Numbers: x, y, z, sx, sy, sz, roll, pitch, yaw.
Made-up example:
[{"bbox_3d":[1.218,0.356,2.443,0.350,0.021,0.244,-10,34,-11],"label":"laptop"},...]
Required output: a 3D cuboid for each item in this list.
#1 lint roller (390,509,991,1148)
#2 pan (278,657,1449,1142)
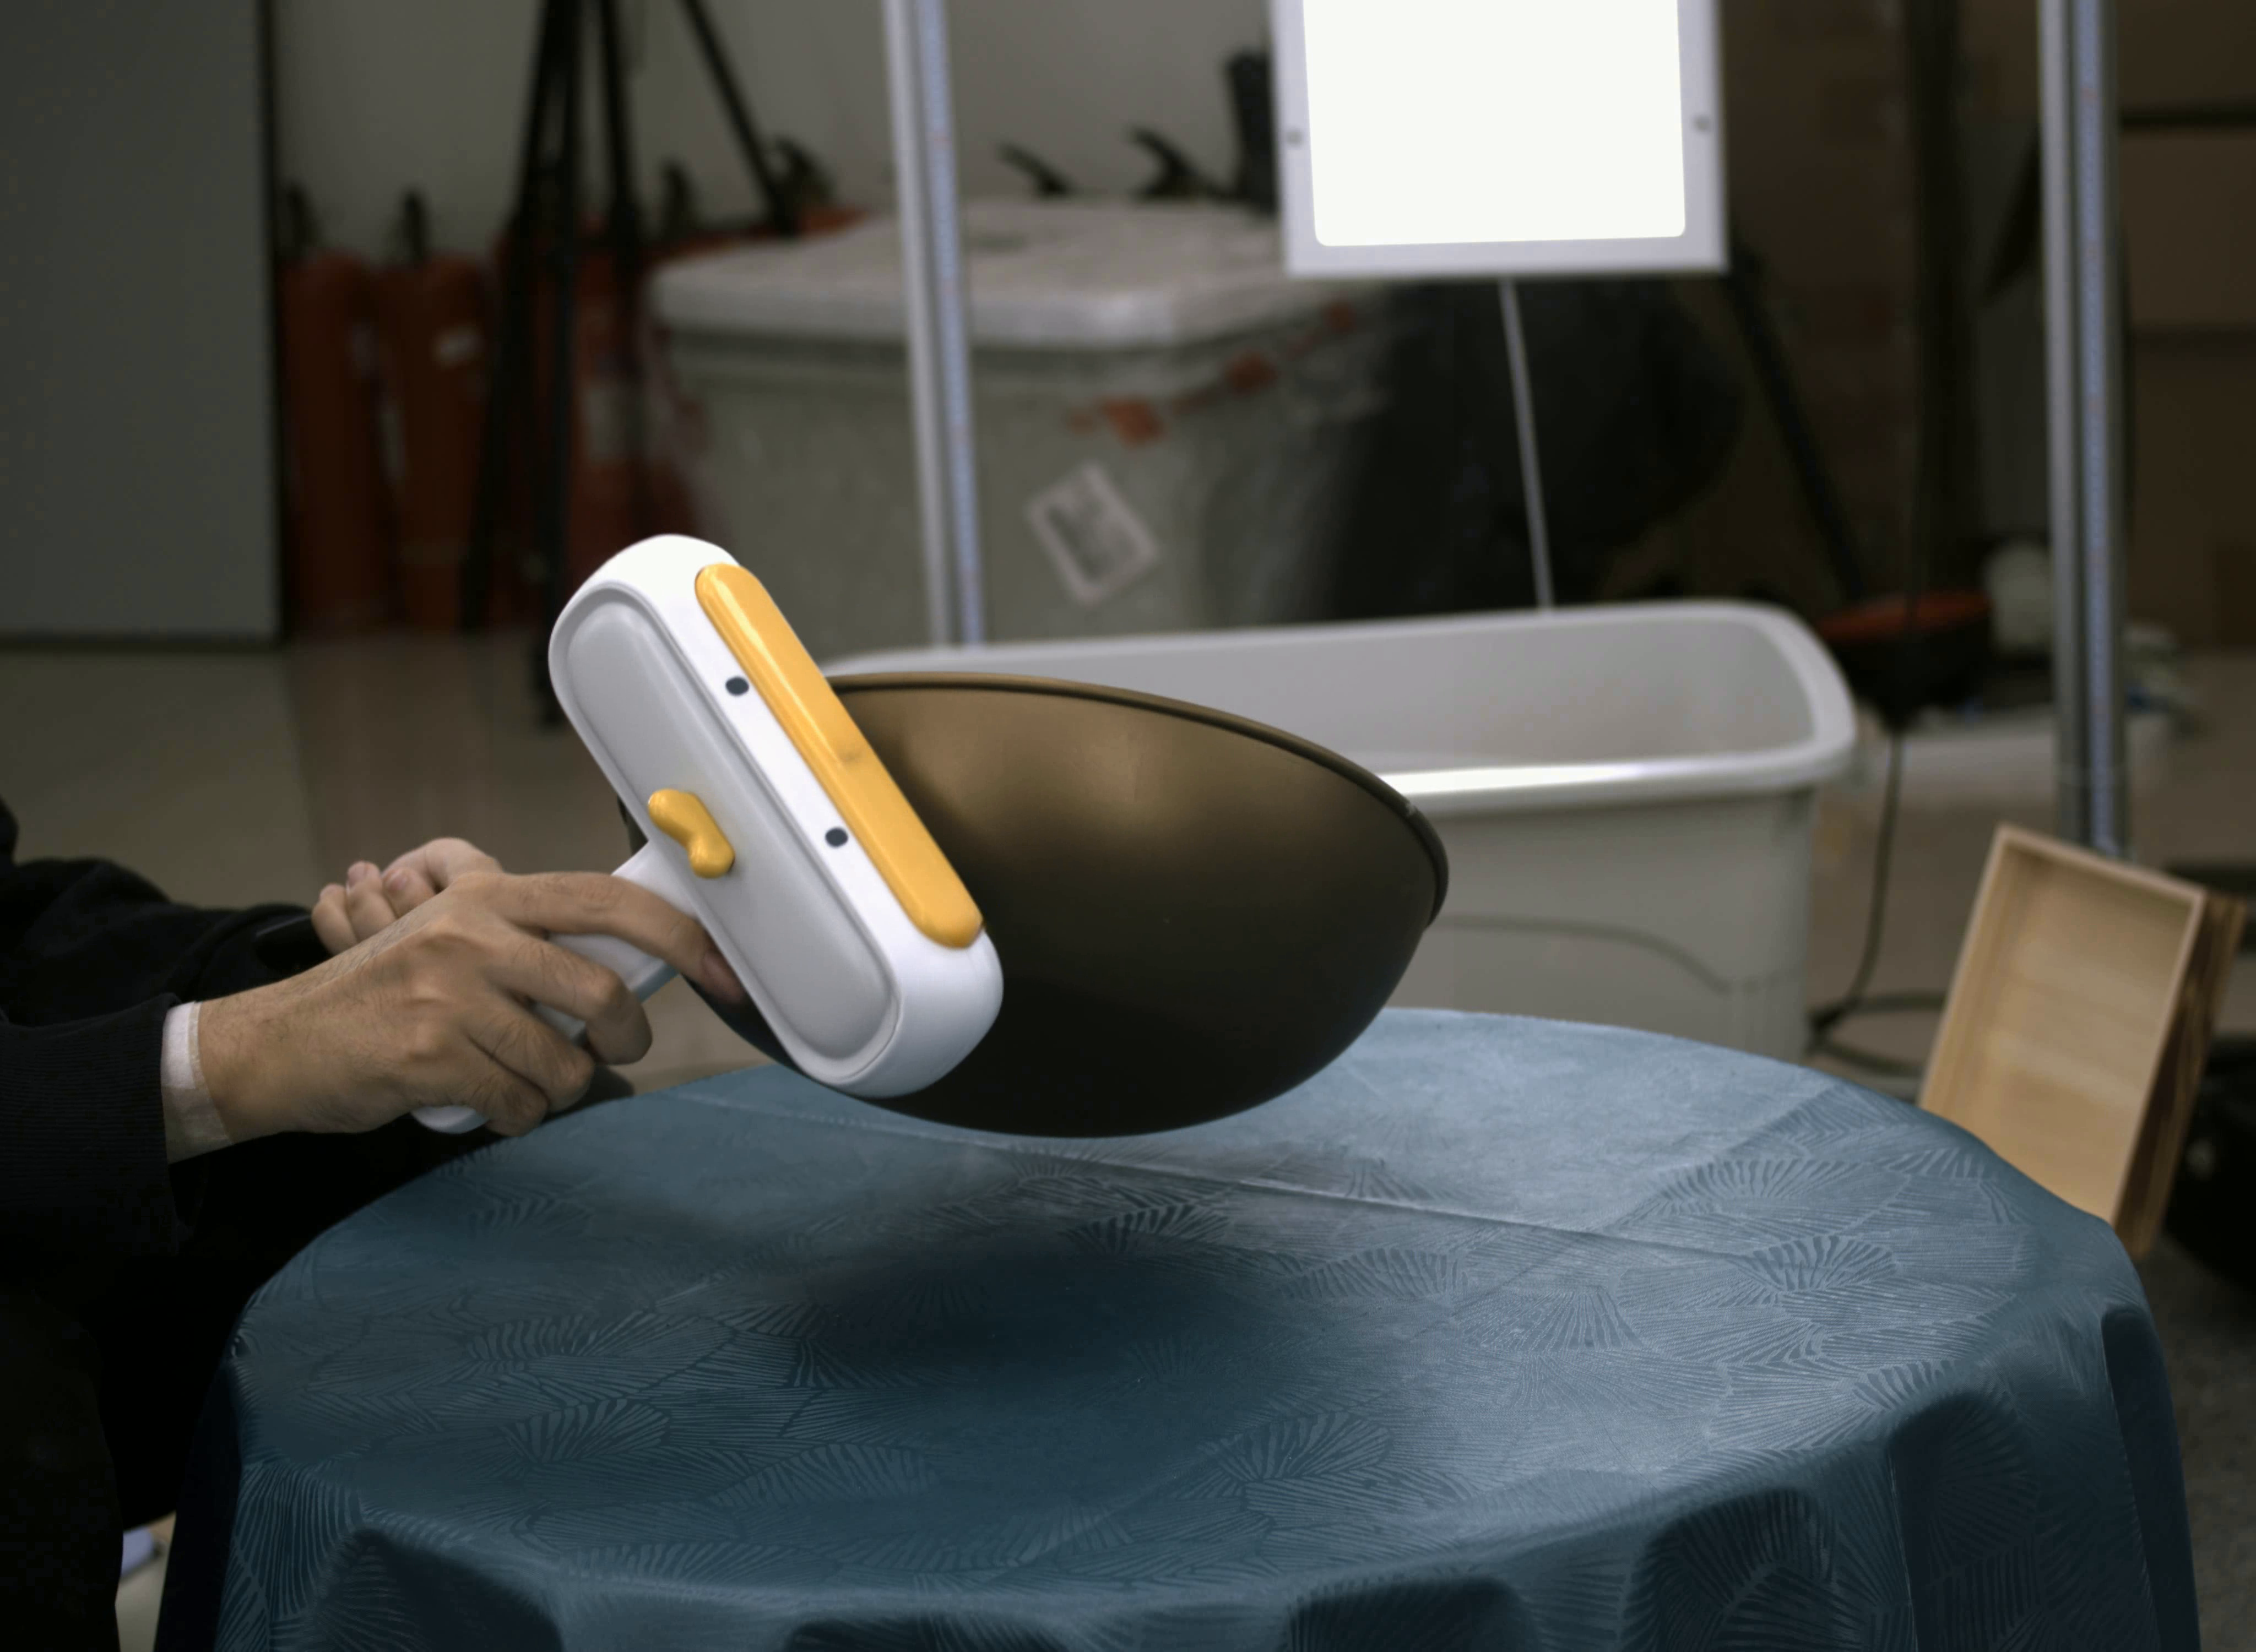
[{"bbox_3d":[-0.155,0.027,1.716,0.195,0.194,0.072,-46,-14,28],"label":"lint roller"},{"bbox_3d":[-0.114,0.050,1.859,0.473,0.086,0.283,-8,-27,32],"label":"pan"}]
